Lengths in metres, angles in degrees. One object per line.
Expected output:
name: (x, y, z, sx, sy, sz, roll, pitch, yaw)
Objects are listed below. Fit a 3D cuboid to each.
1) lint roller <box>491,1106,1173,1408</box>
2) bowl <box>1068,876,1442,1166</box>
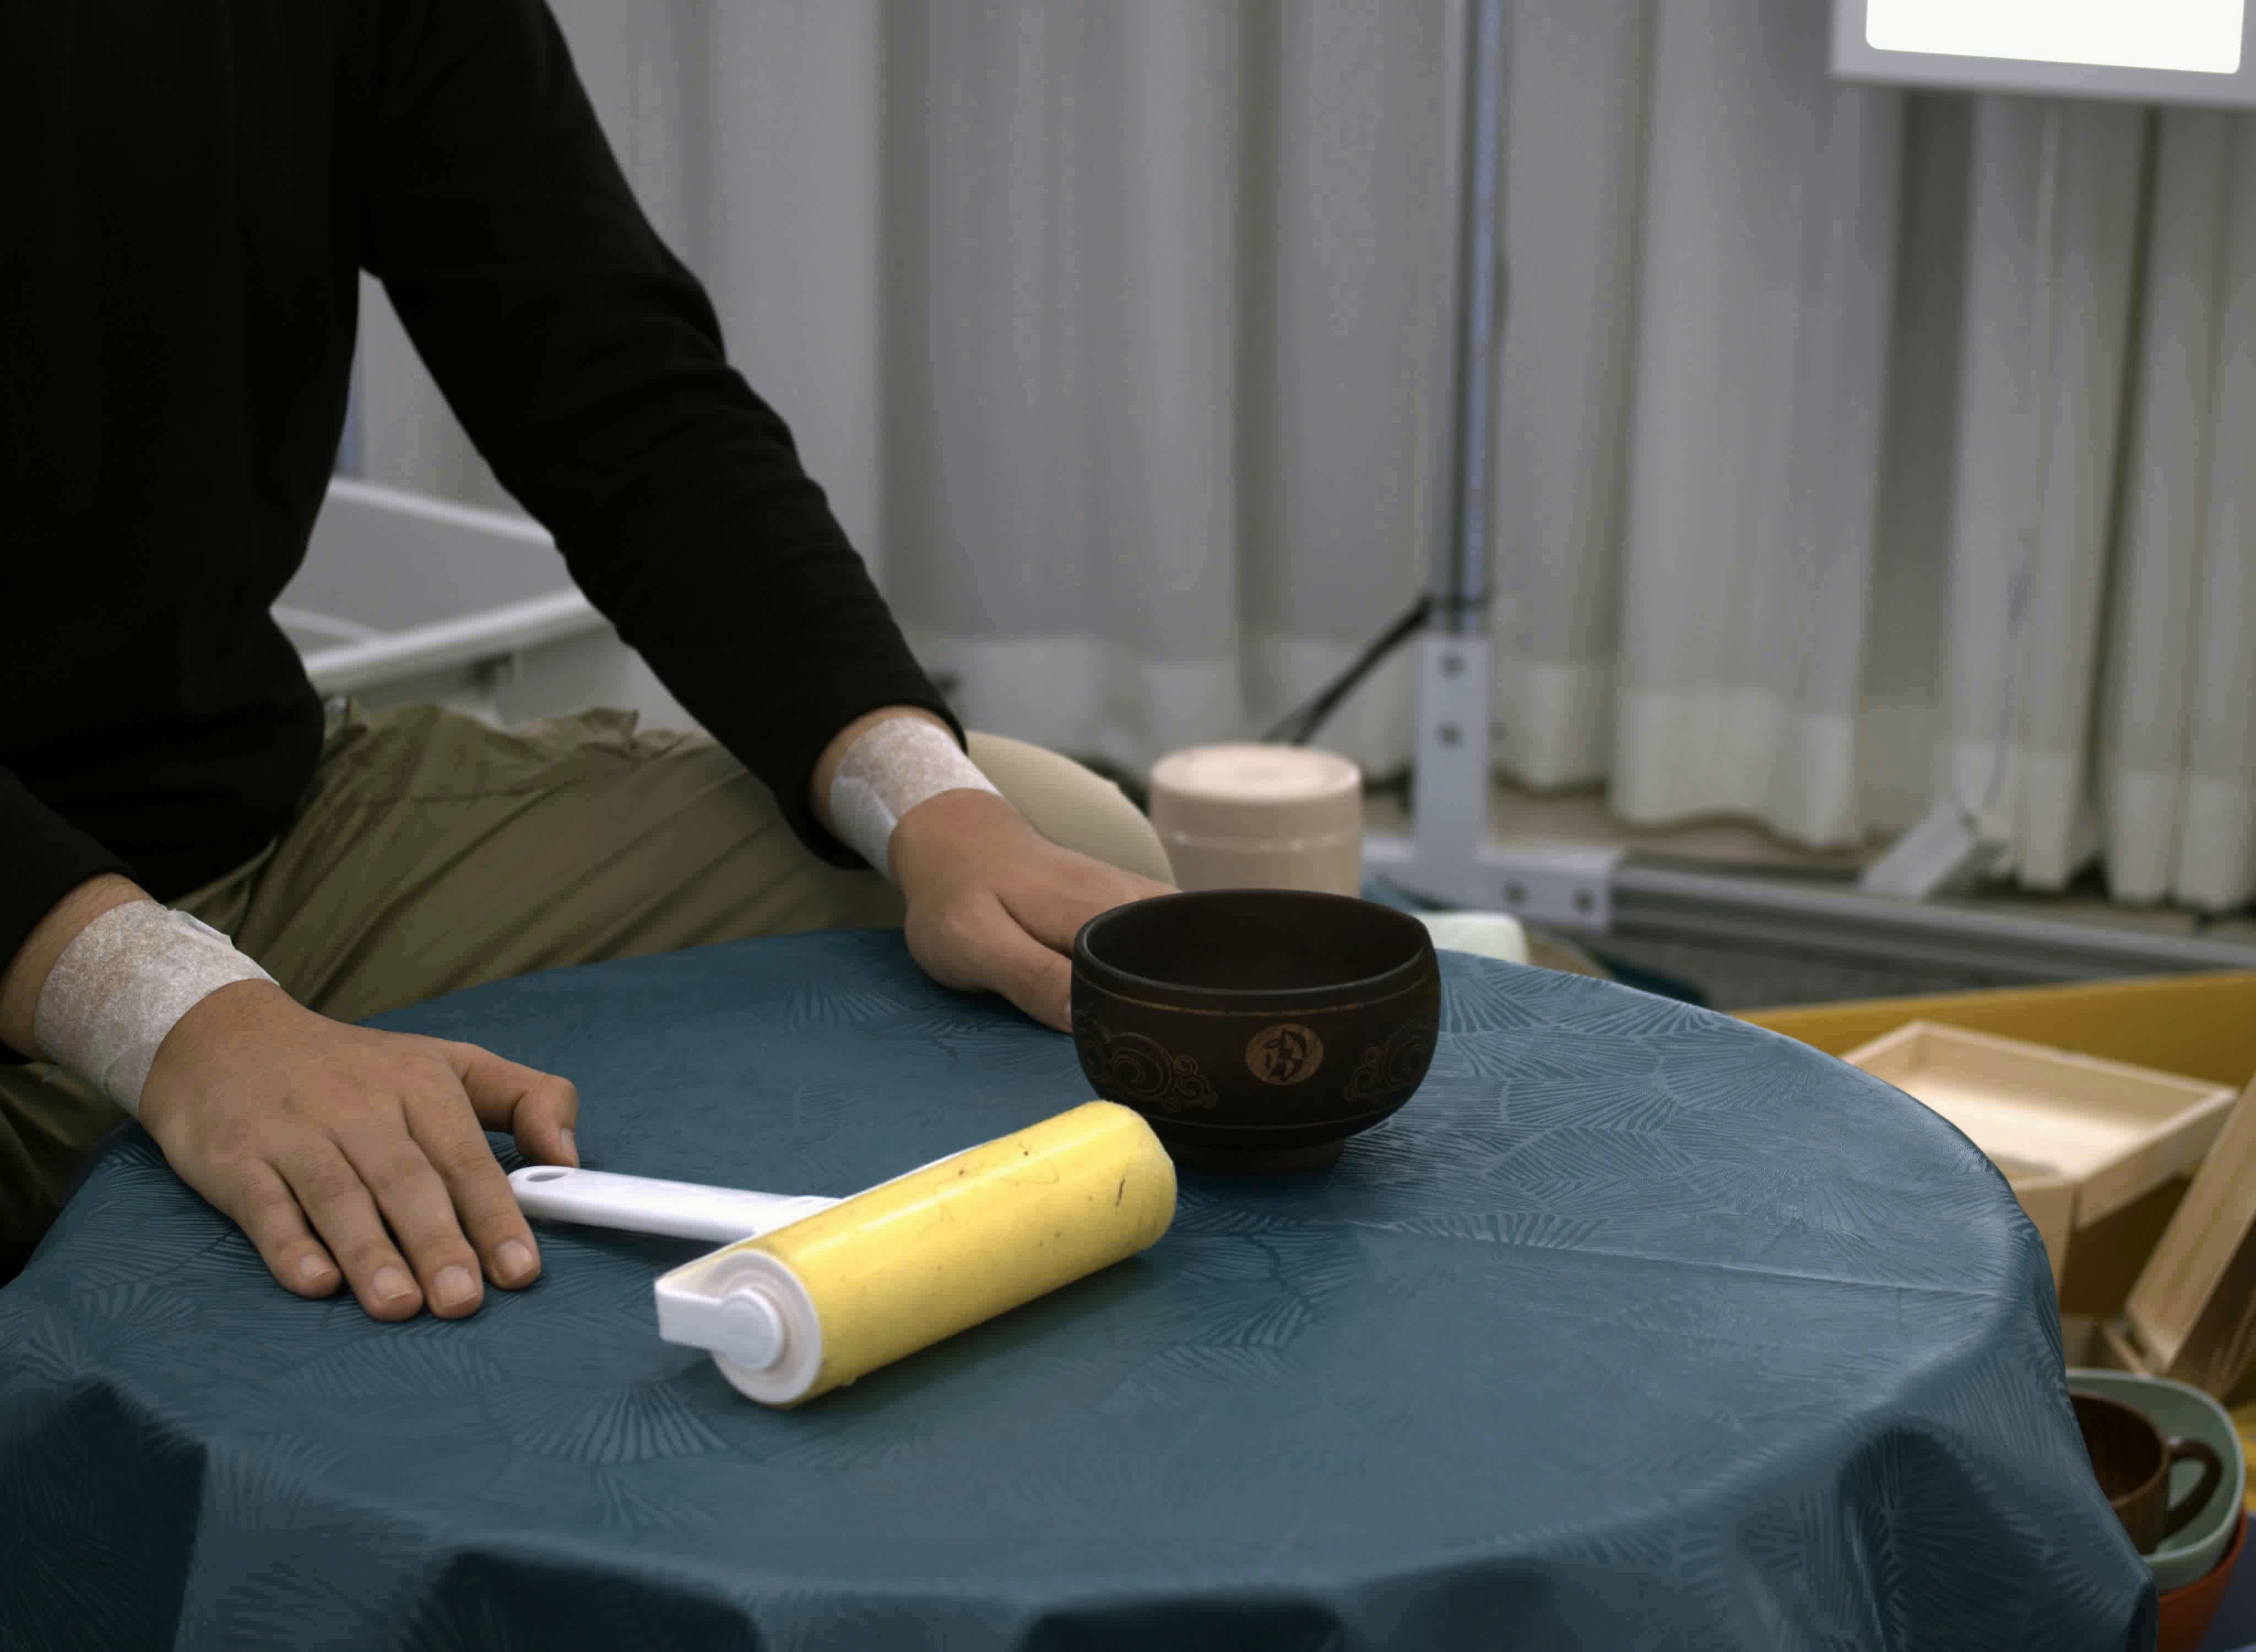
lint roller: (-0.110, 0.107, 1.538, 0.189, 0.052, 0.175, 16, 21, 32)
bowl: (0.039, 0.065, 1.653, 0.117, 0.070, 0.117, 2, 16, 0)
